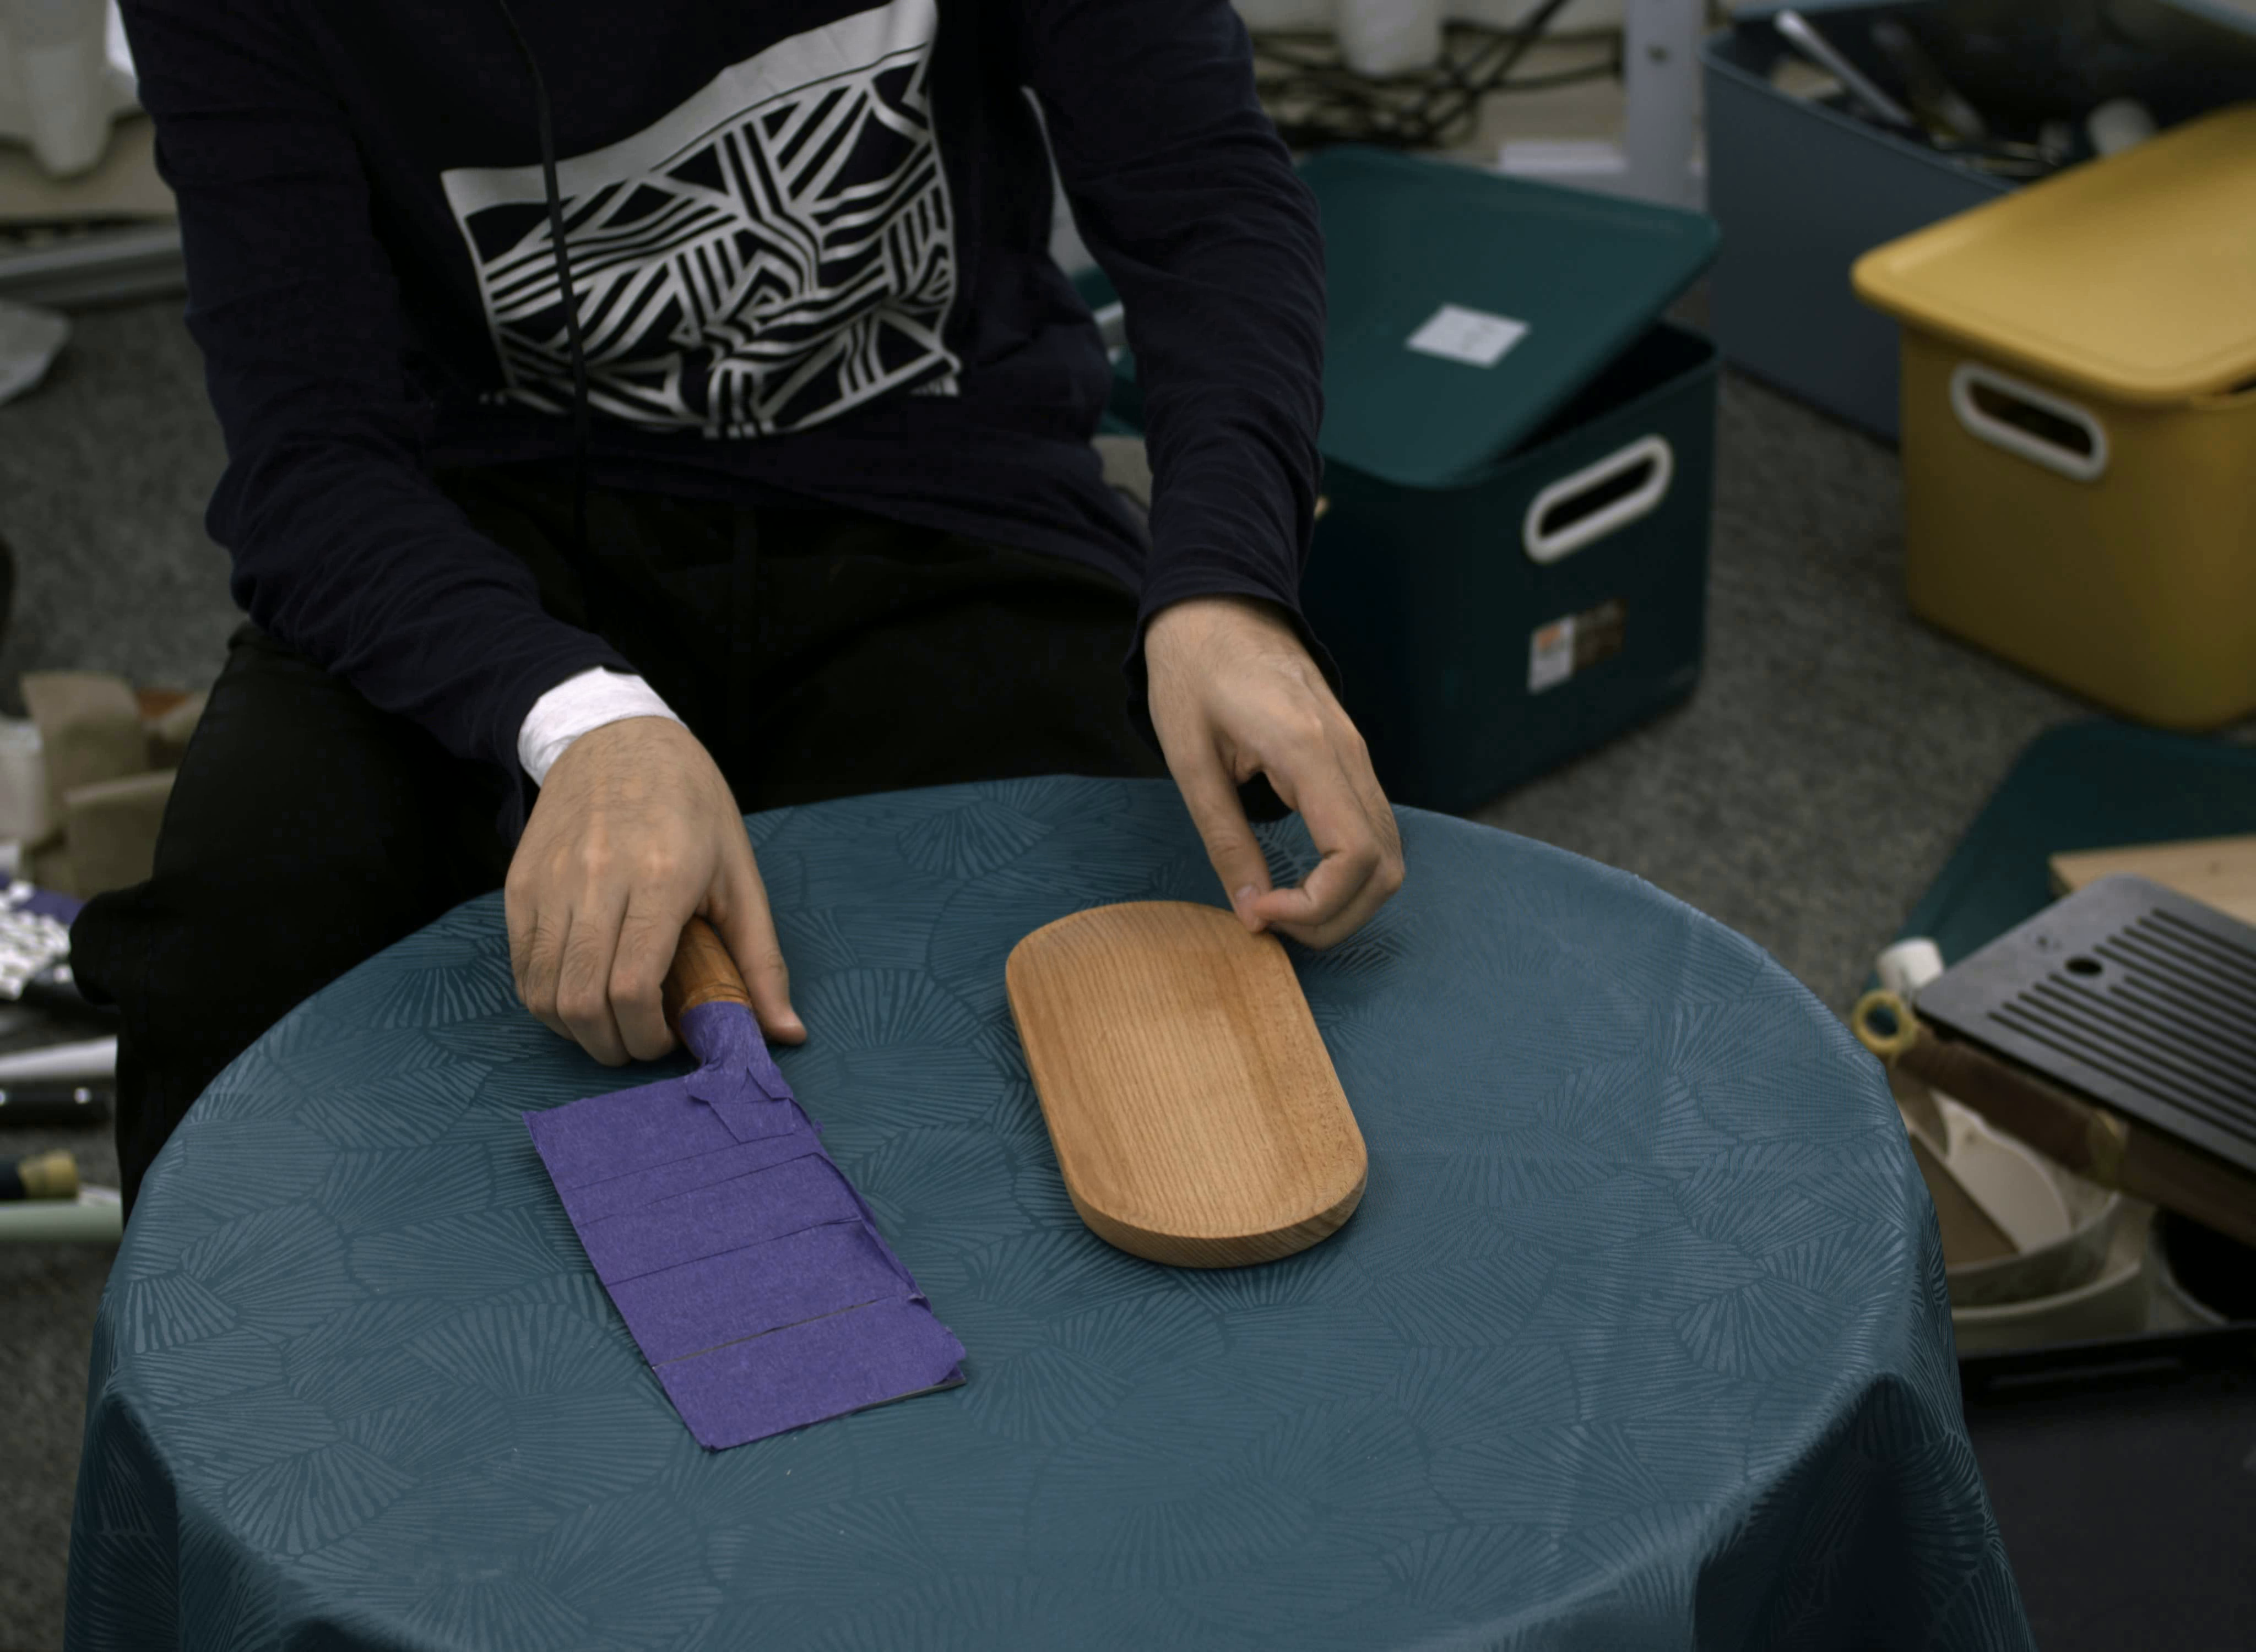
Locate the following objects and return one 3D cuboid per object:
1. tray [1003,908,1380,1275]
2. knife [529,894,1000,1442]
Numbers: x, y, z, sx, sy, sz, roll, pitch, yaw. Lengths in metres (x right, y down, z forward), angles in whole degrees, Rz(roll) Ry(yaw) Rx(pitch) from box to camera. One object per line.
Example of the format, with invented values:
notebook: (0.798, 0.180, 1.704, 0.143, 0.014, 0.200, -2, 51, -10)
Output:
tray: (0.019, 0.088, 1.908, 0.101, 0.020, 0.234, -7, 29, -9)
knife: (-0.144, 0.109, 1.870, 0.104, 0.032, 0.318, -12, 29, -18)
